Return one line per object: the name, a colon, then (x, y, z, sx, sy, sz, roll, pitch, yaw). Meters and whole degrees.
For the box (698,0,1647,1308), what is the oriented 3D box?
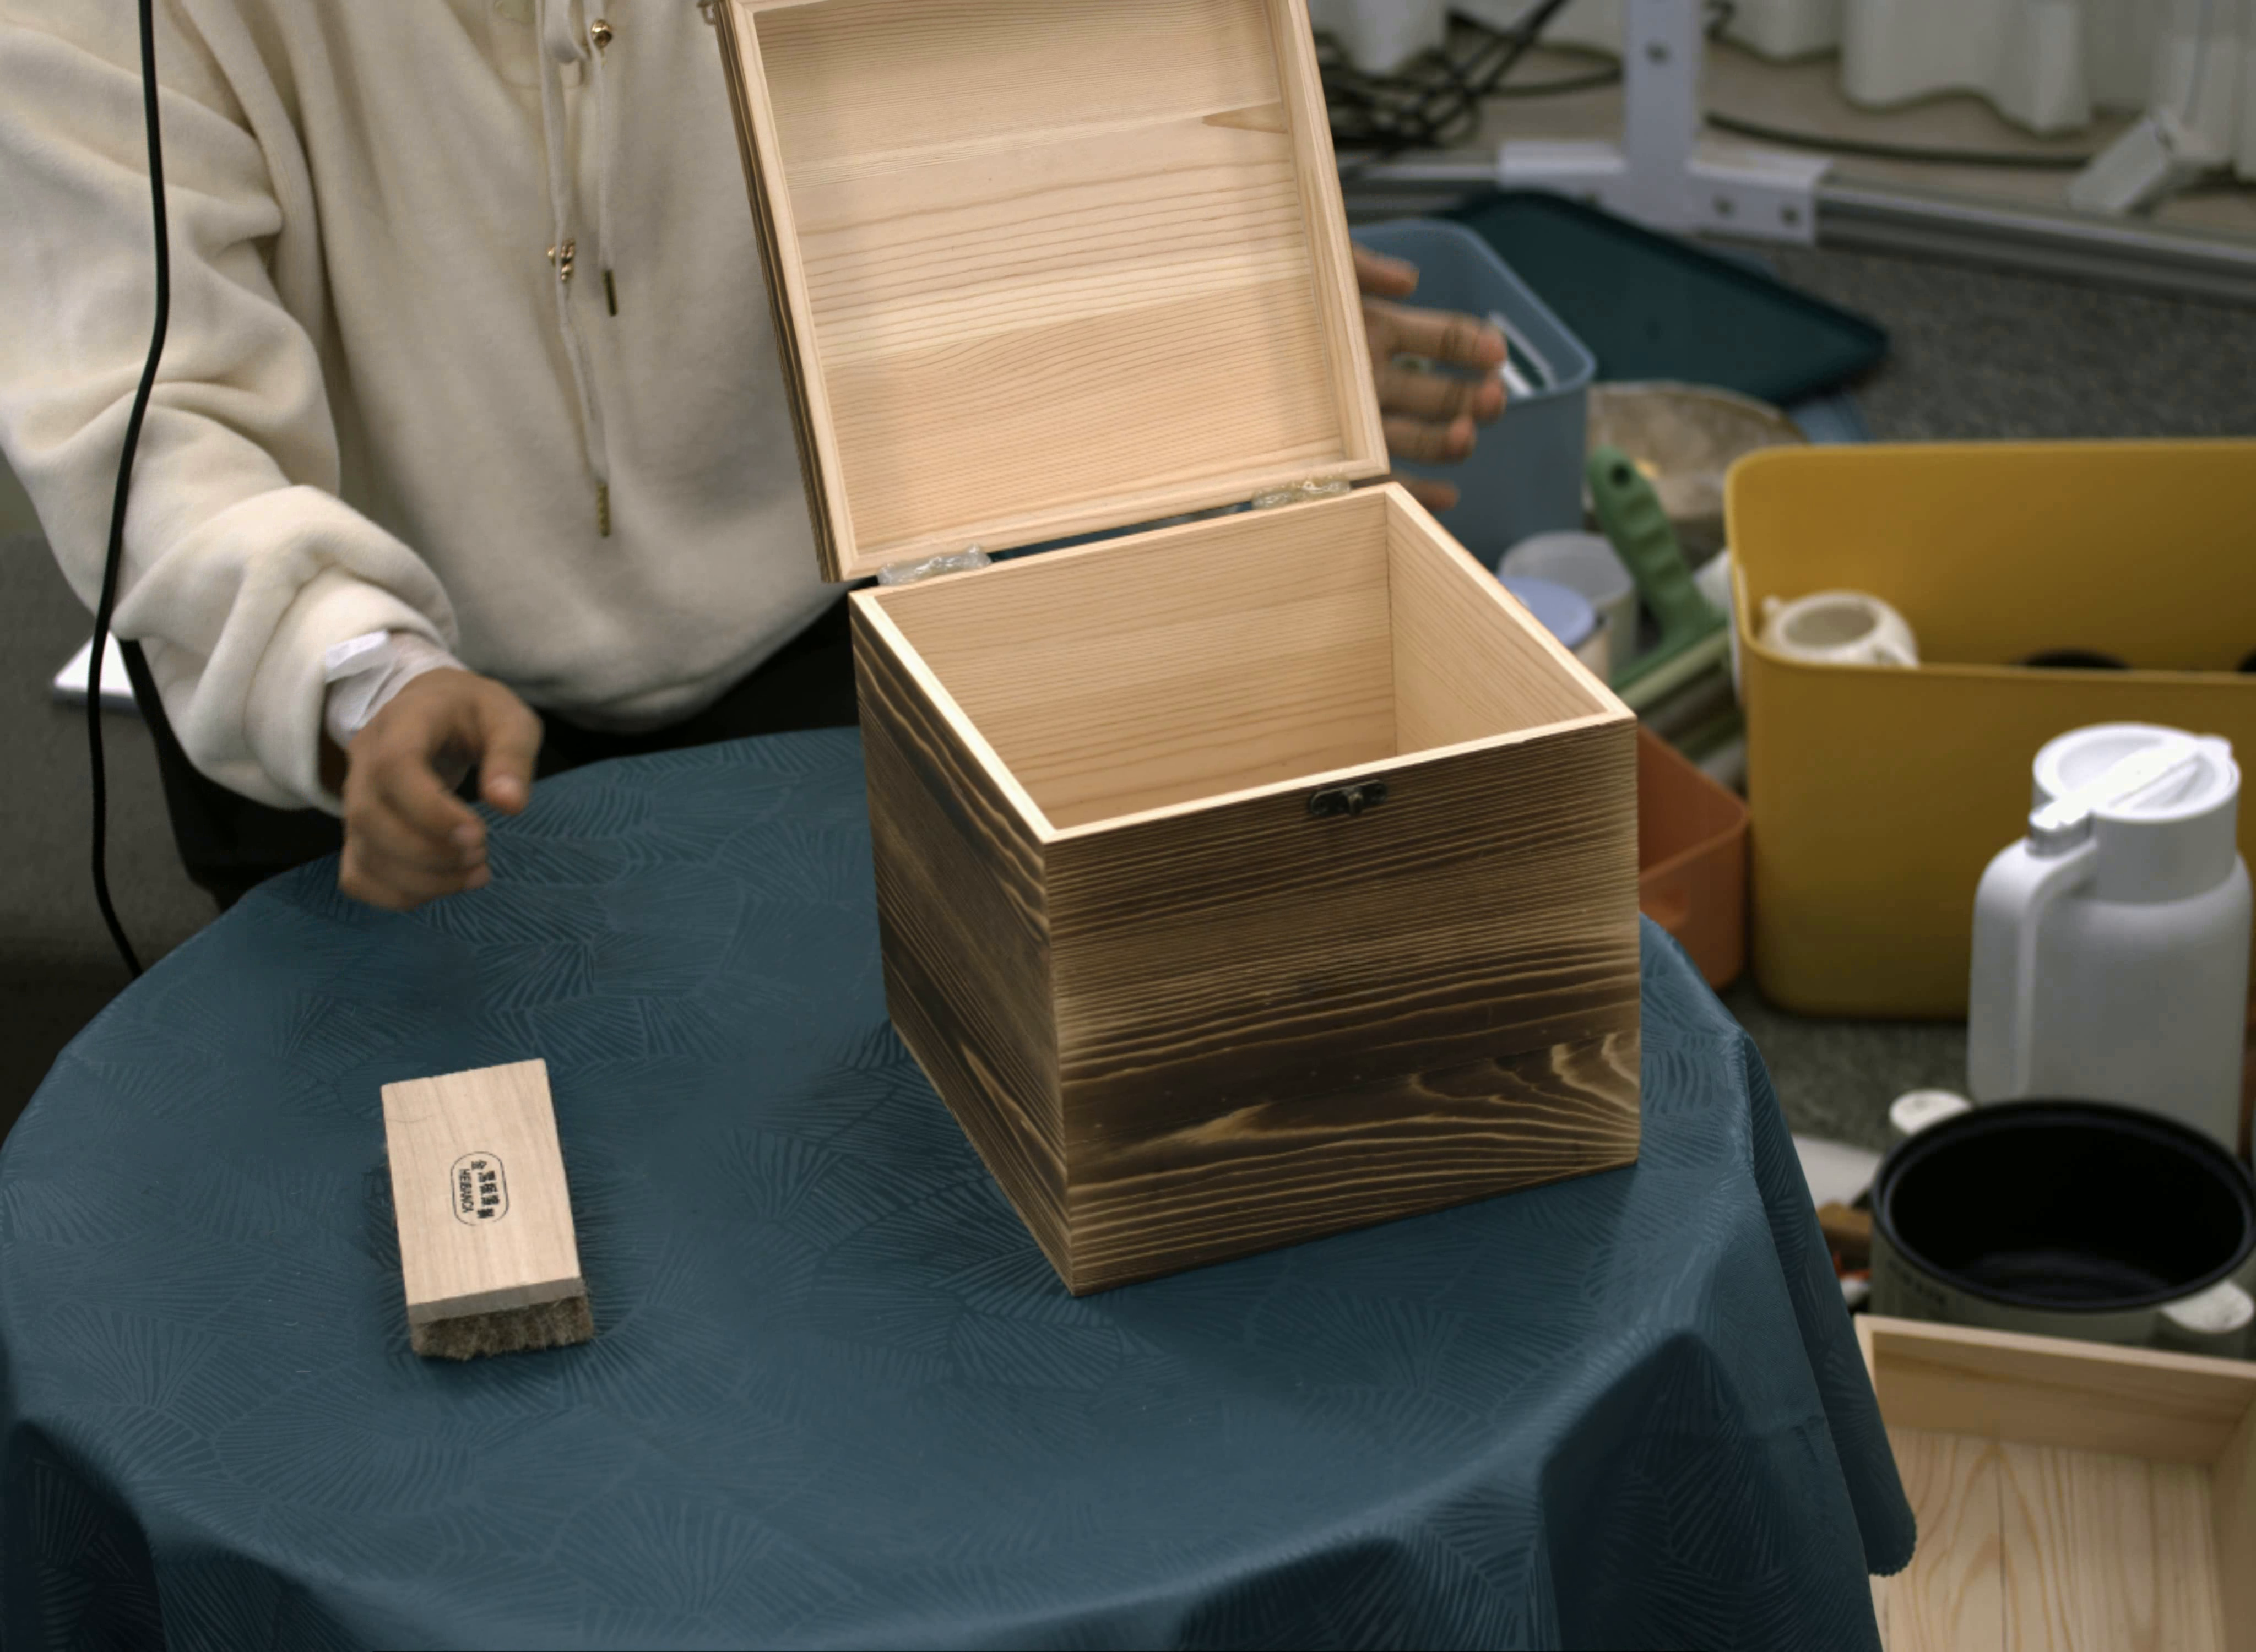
box: (0.013, -0.091, 1.880, 0.209, 0.371, 0.325, -13, 28, -17)

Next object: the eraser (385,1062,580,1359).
eraser: (-0.212, 0.127, 1.841, 0.057, 0.028, 0.141, -9, 27, -5)
